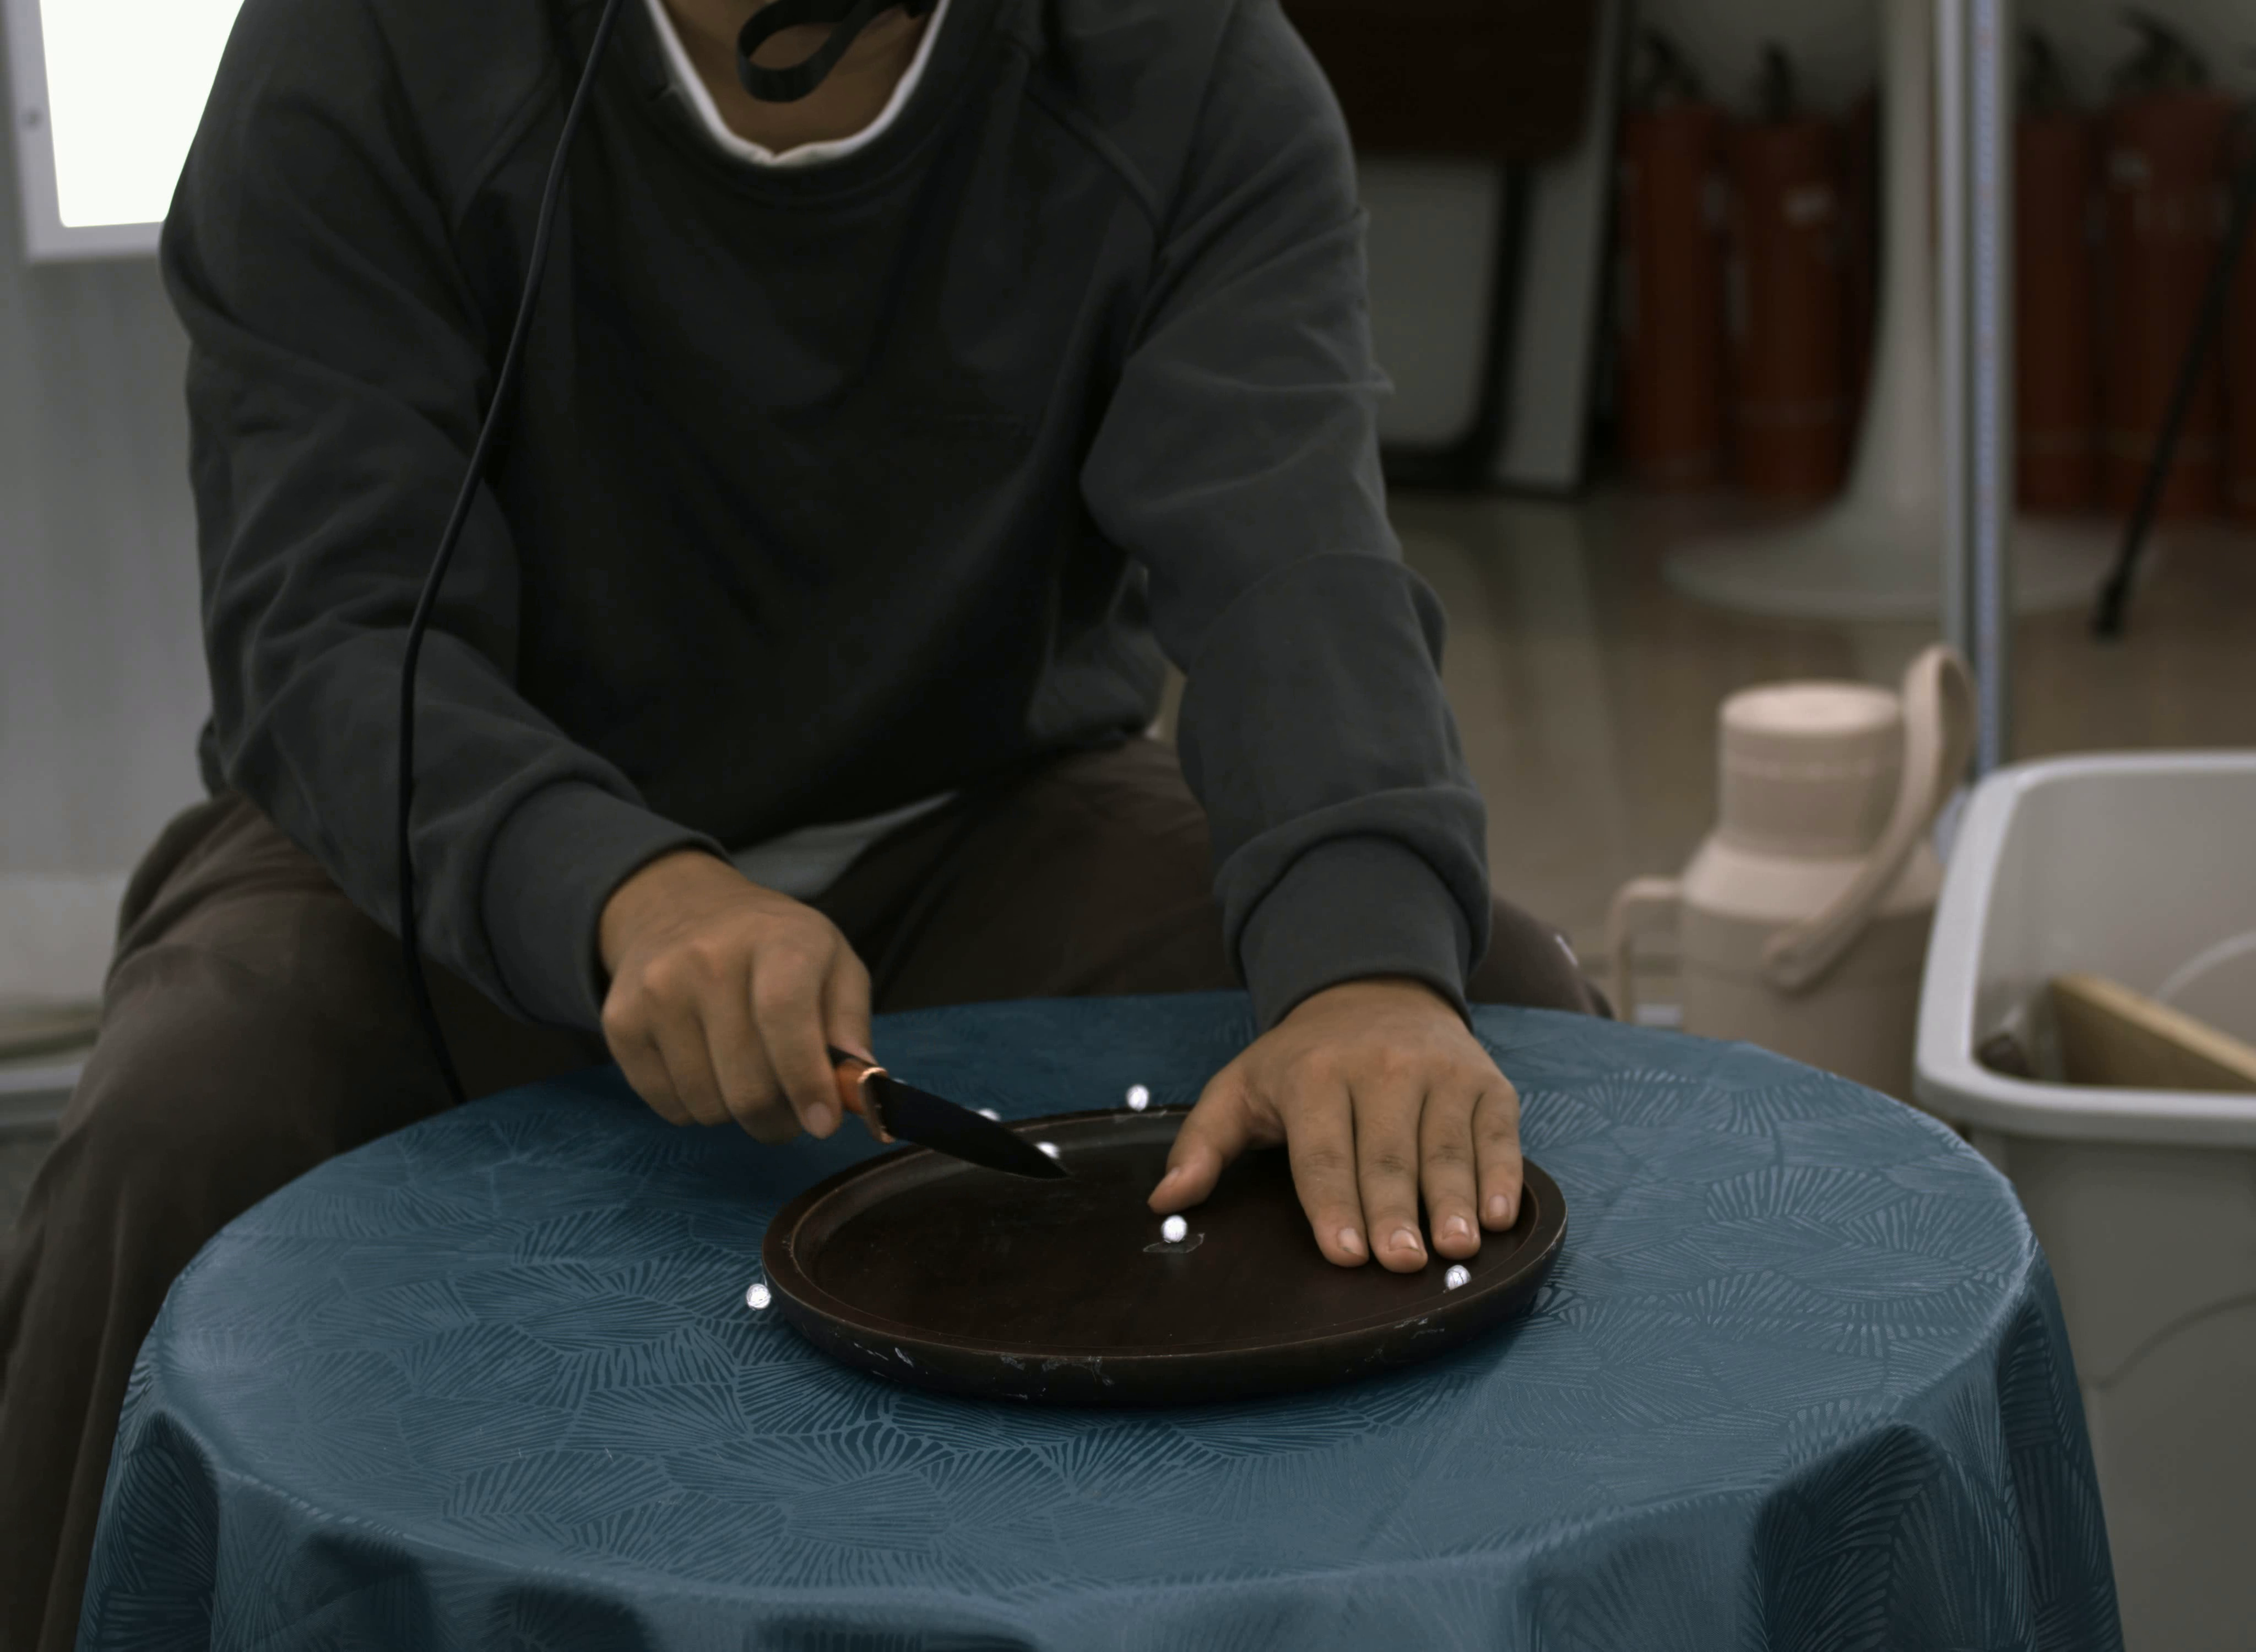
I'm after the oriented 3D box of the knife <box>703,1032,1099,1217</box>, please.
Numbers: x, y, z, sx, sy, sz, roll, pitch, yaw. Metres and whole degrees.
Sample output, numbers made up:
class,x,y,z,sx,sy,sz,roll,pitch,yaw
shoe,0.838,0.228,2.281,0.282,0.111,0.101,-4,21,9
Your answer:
class,x,y,z,sx,sy,sz,roll,pitch,yaw
knife,-0.074,0.093,1.720,0.017,0.026,0.228,-18,18,-31

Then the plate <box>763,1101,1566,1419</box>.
class,x,y,z,sx,sy,sz,roll,pitch,yaw
plate,0.012,0.133,1.676,0.251,0.029,0.255,-5,13,0
